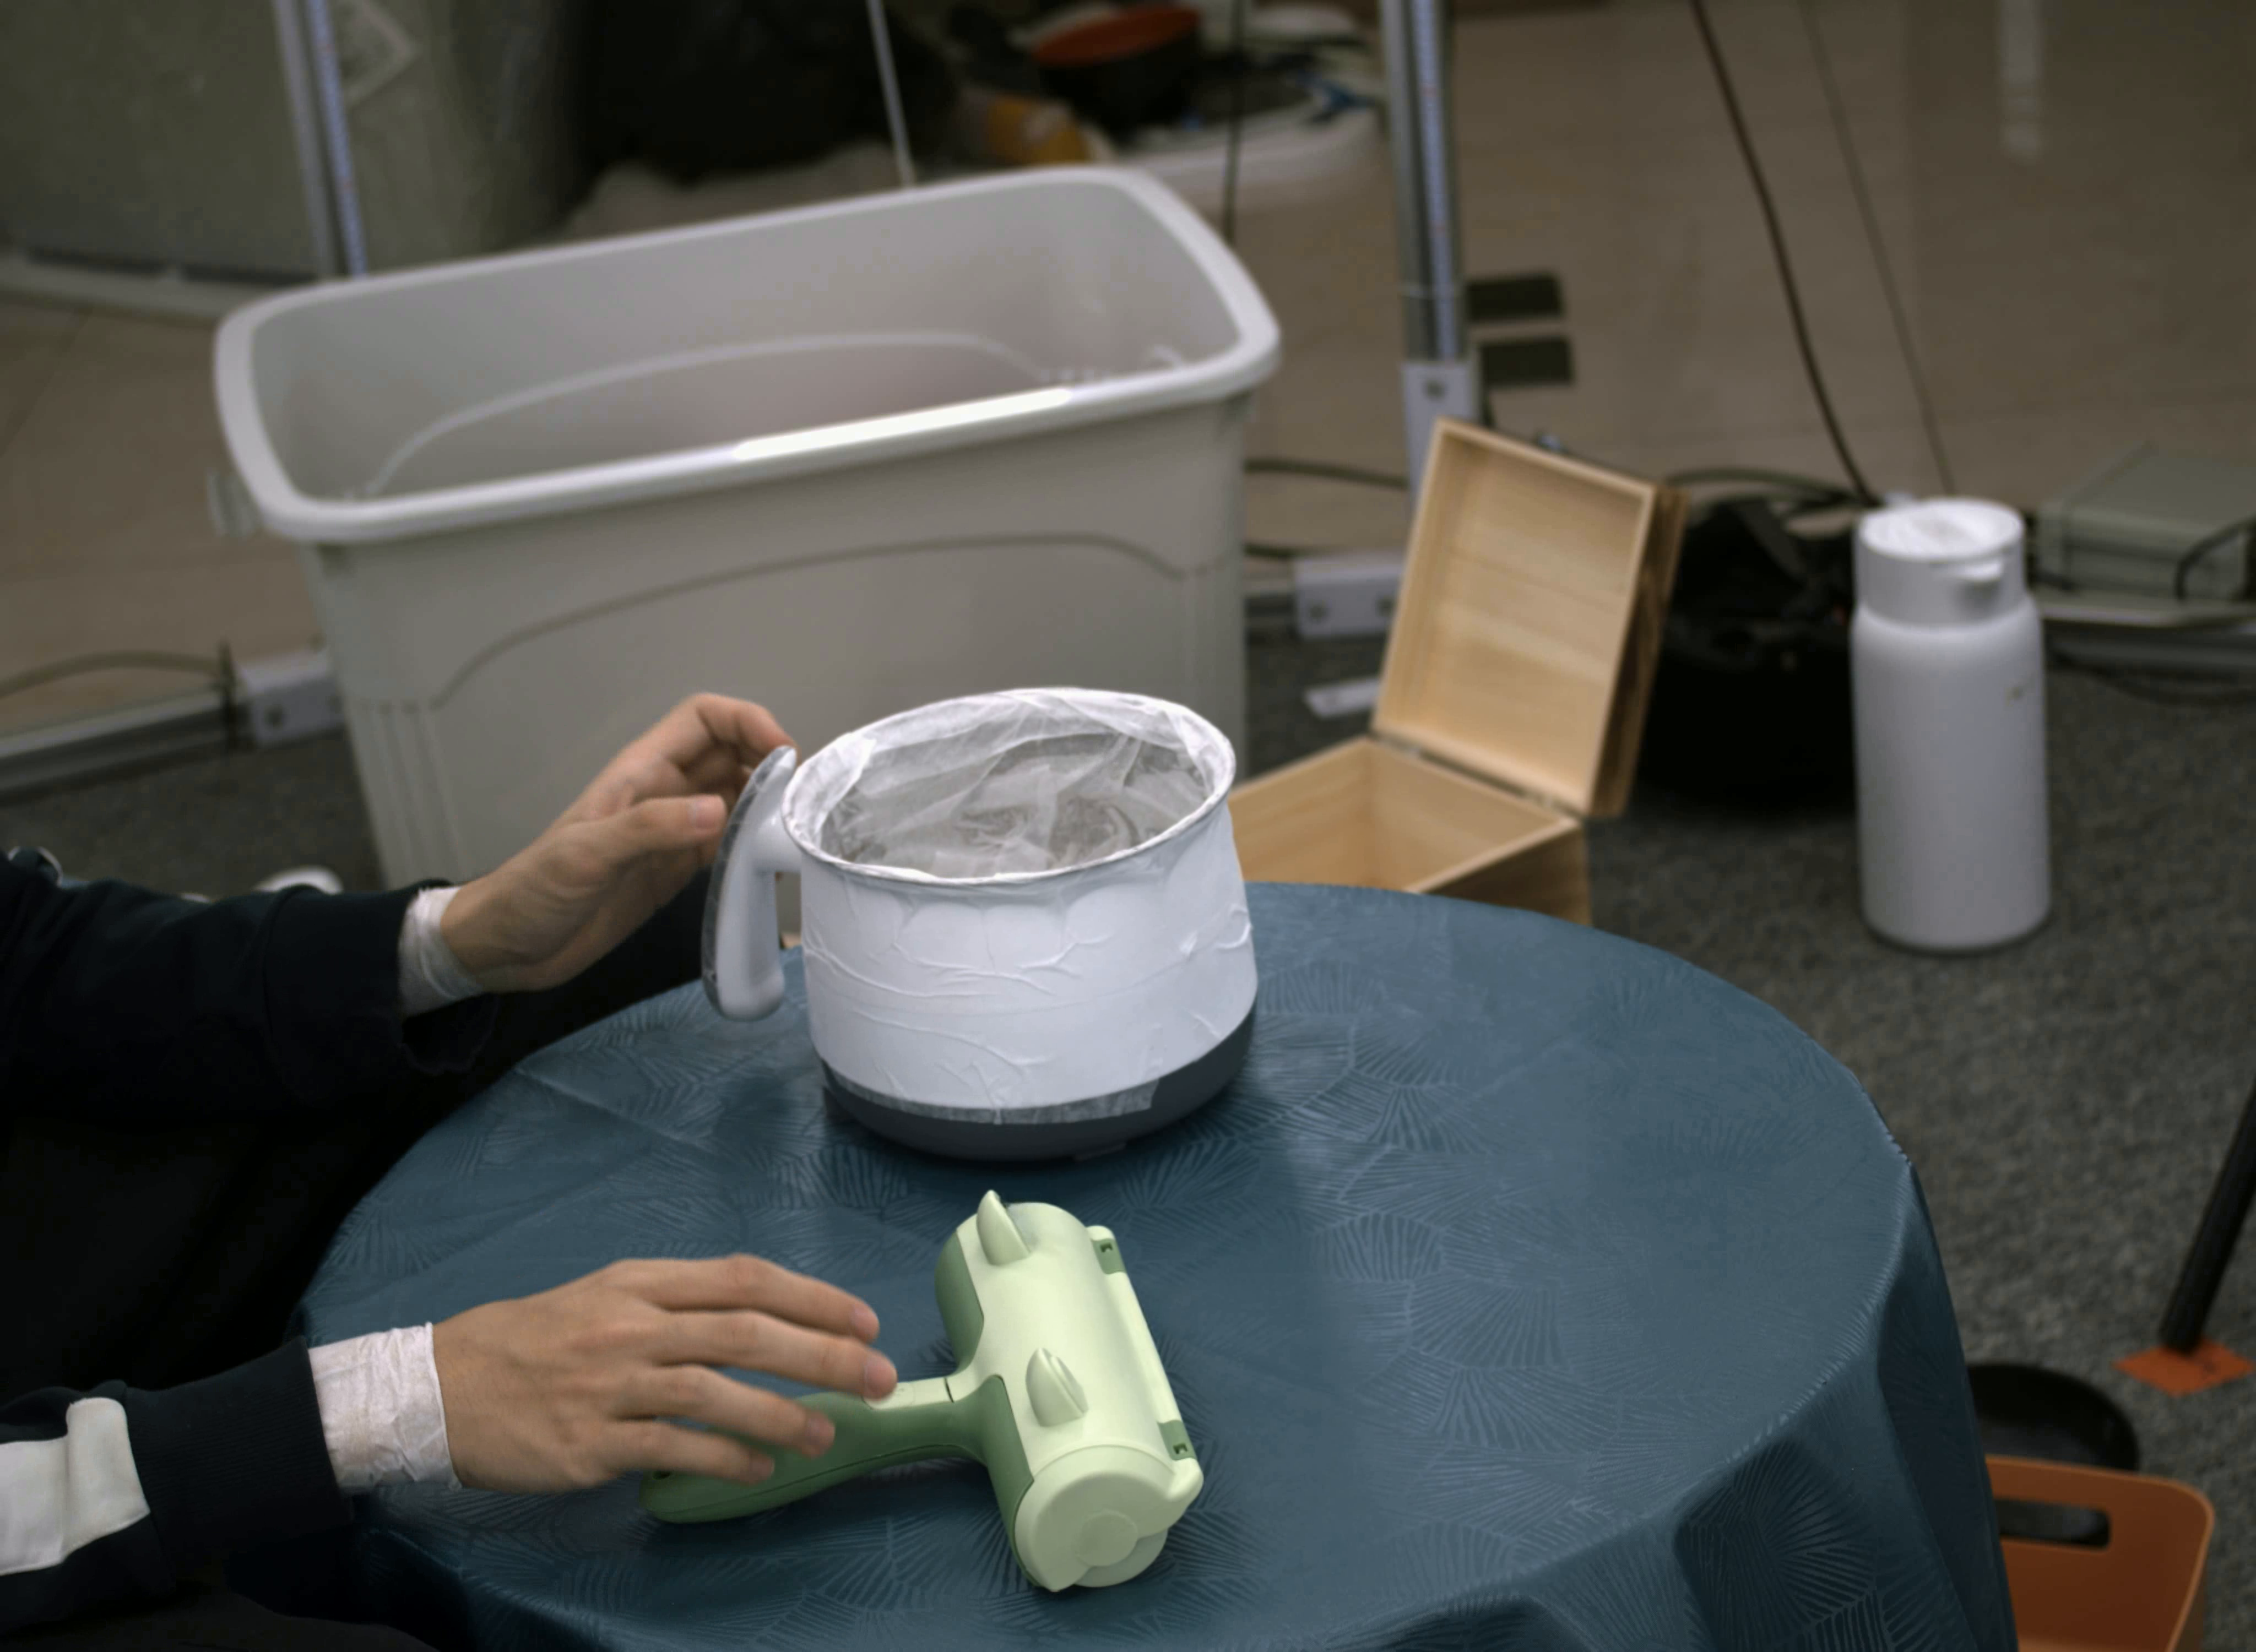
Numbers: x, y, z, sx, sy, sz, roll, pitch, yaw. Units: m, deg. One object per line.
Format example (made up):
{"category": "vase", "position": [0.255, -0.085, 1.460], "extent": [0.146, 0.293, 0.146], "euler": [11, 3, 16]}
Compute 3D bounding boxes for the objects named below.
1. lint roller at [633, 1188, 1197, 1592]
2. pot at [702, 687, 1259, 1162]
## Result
{"category": "lint roller", "position": [-0.081, 0.193, 1.959], "extent": [0.183, 0.083, 0.196], "euler": [-5, 25, -8]}
{"category": "pot", "position": [-0.064, 0.037, 2.213], "extent": [0.233, 0.139, 0.176], "euler": [7, 28, 24]}
